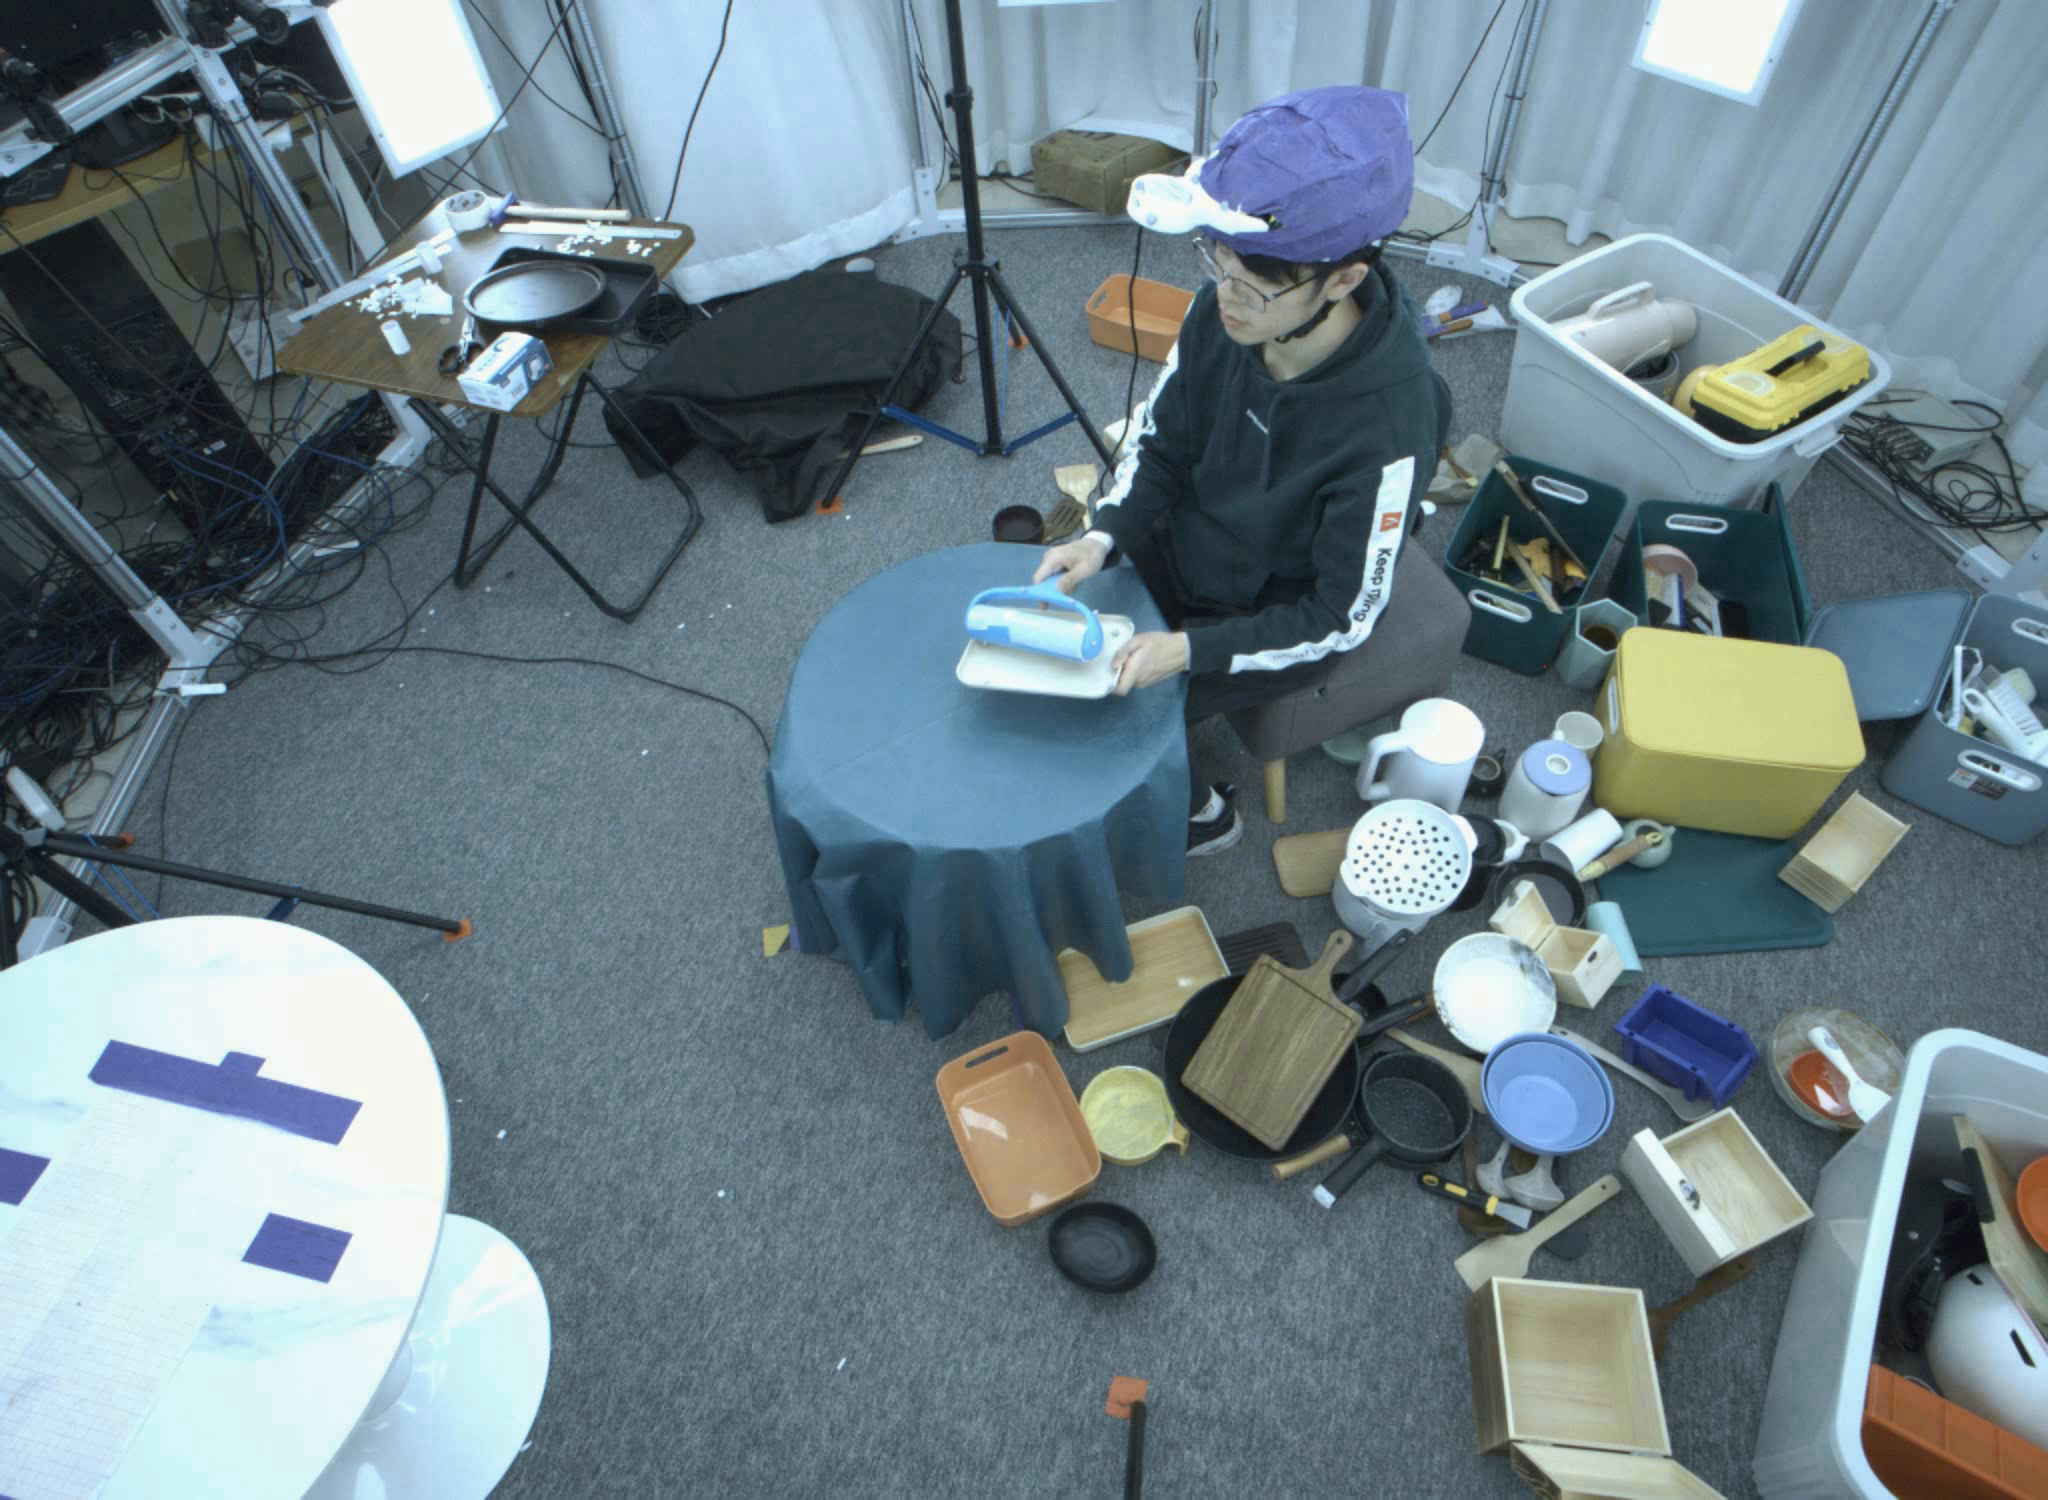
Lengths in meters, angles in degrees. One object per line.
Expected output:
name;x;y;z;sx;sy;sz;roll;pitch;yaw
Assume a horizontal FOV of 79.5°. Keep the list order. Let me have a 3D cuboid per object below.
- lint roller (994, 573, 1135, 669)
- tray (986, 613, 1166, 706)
lint roller;0.081;-0.208;1.781;0.224;0.069;0.180;13;59;29
tray;0.076;-0.132;1.775;0.237;0.018;0.171;8;49;17
